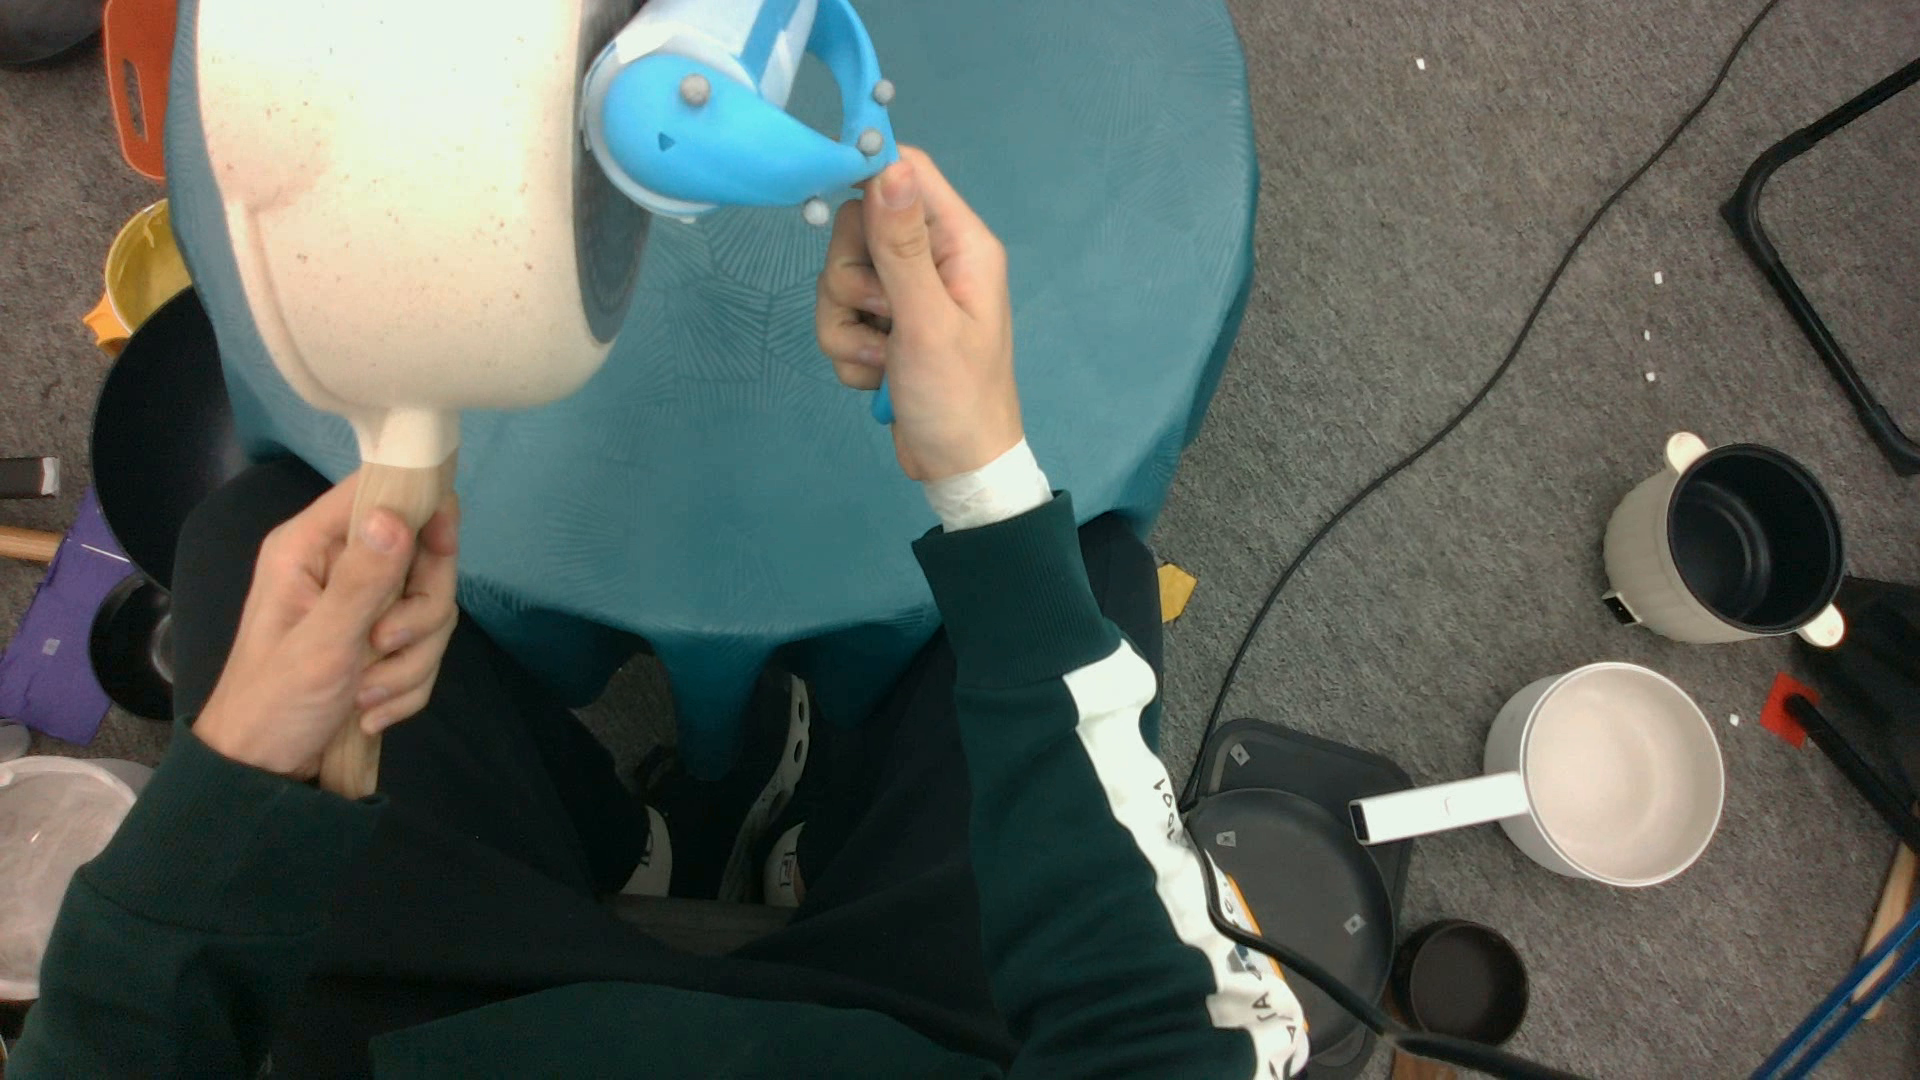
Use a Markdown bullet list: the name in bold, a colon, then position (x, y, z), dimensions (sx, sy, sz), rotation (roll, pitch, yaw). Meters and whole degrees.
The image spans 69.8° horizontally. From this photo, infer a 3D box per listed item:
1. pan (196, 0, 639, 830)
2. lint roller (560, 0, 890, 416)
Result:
- **pan**: position (-0.182, -0.080, 0.495), dimensions (0.102, 0.264, 0.433), rotation (6, 112, -9)
- **lint roller**: position (-0.062, -0.130, 0.504), dimensions (0.068, 0.230, 0.180), rotation (-29, 123, 13)
